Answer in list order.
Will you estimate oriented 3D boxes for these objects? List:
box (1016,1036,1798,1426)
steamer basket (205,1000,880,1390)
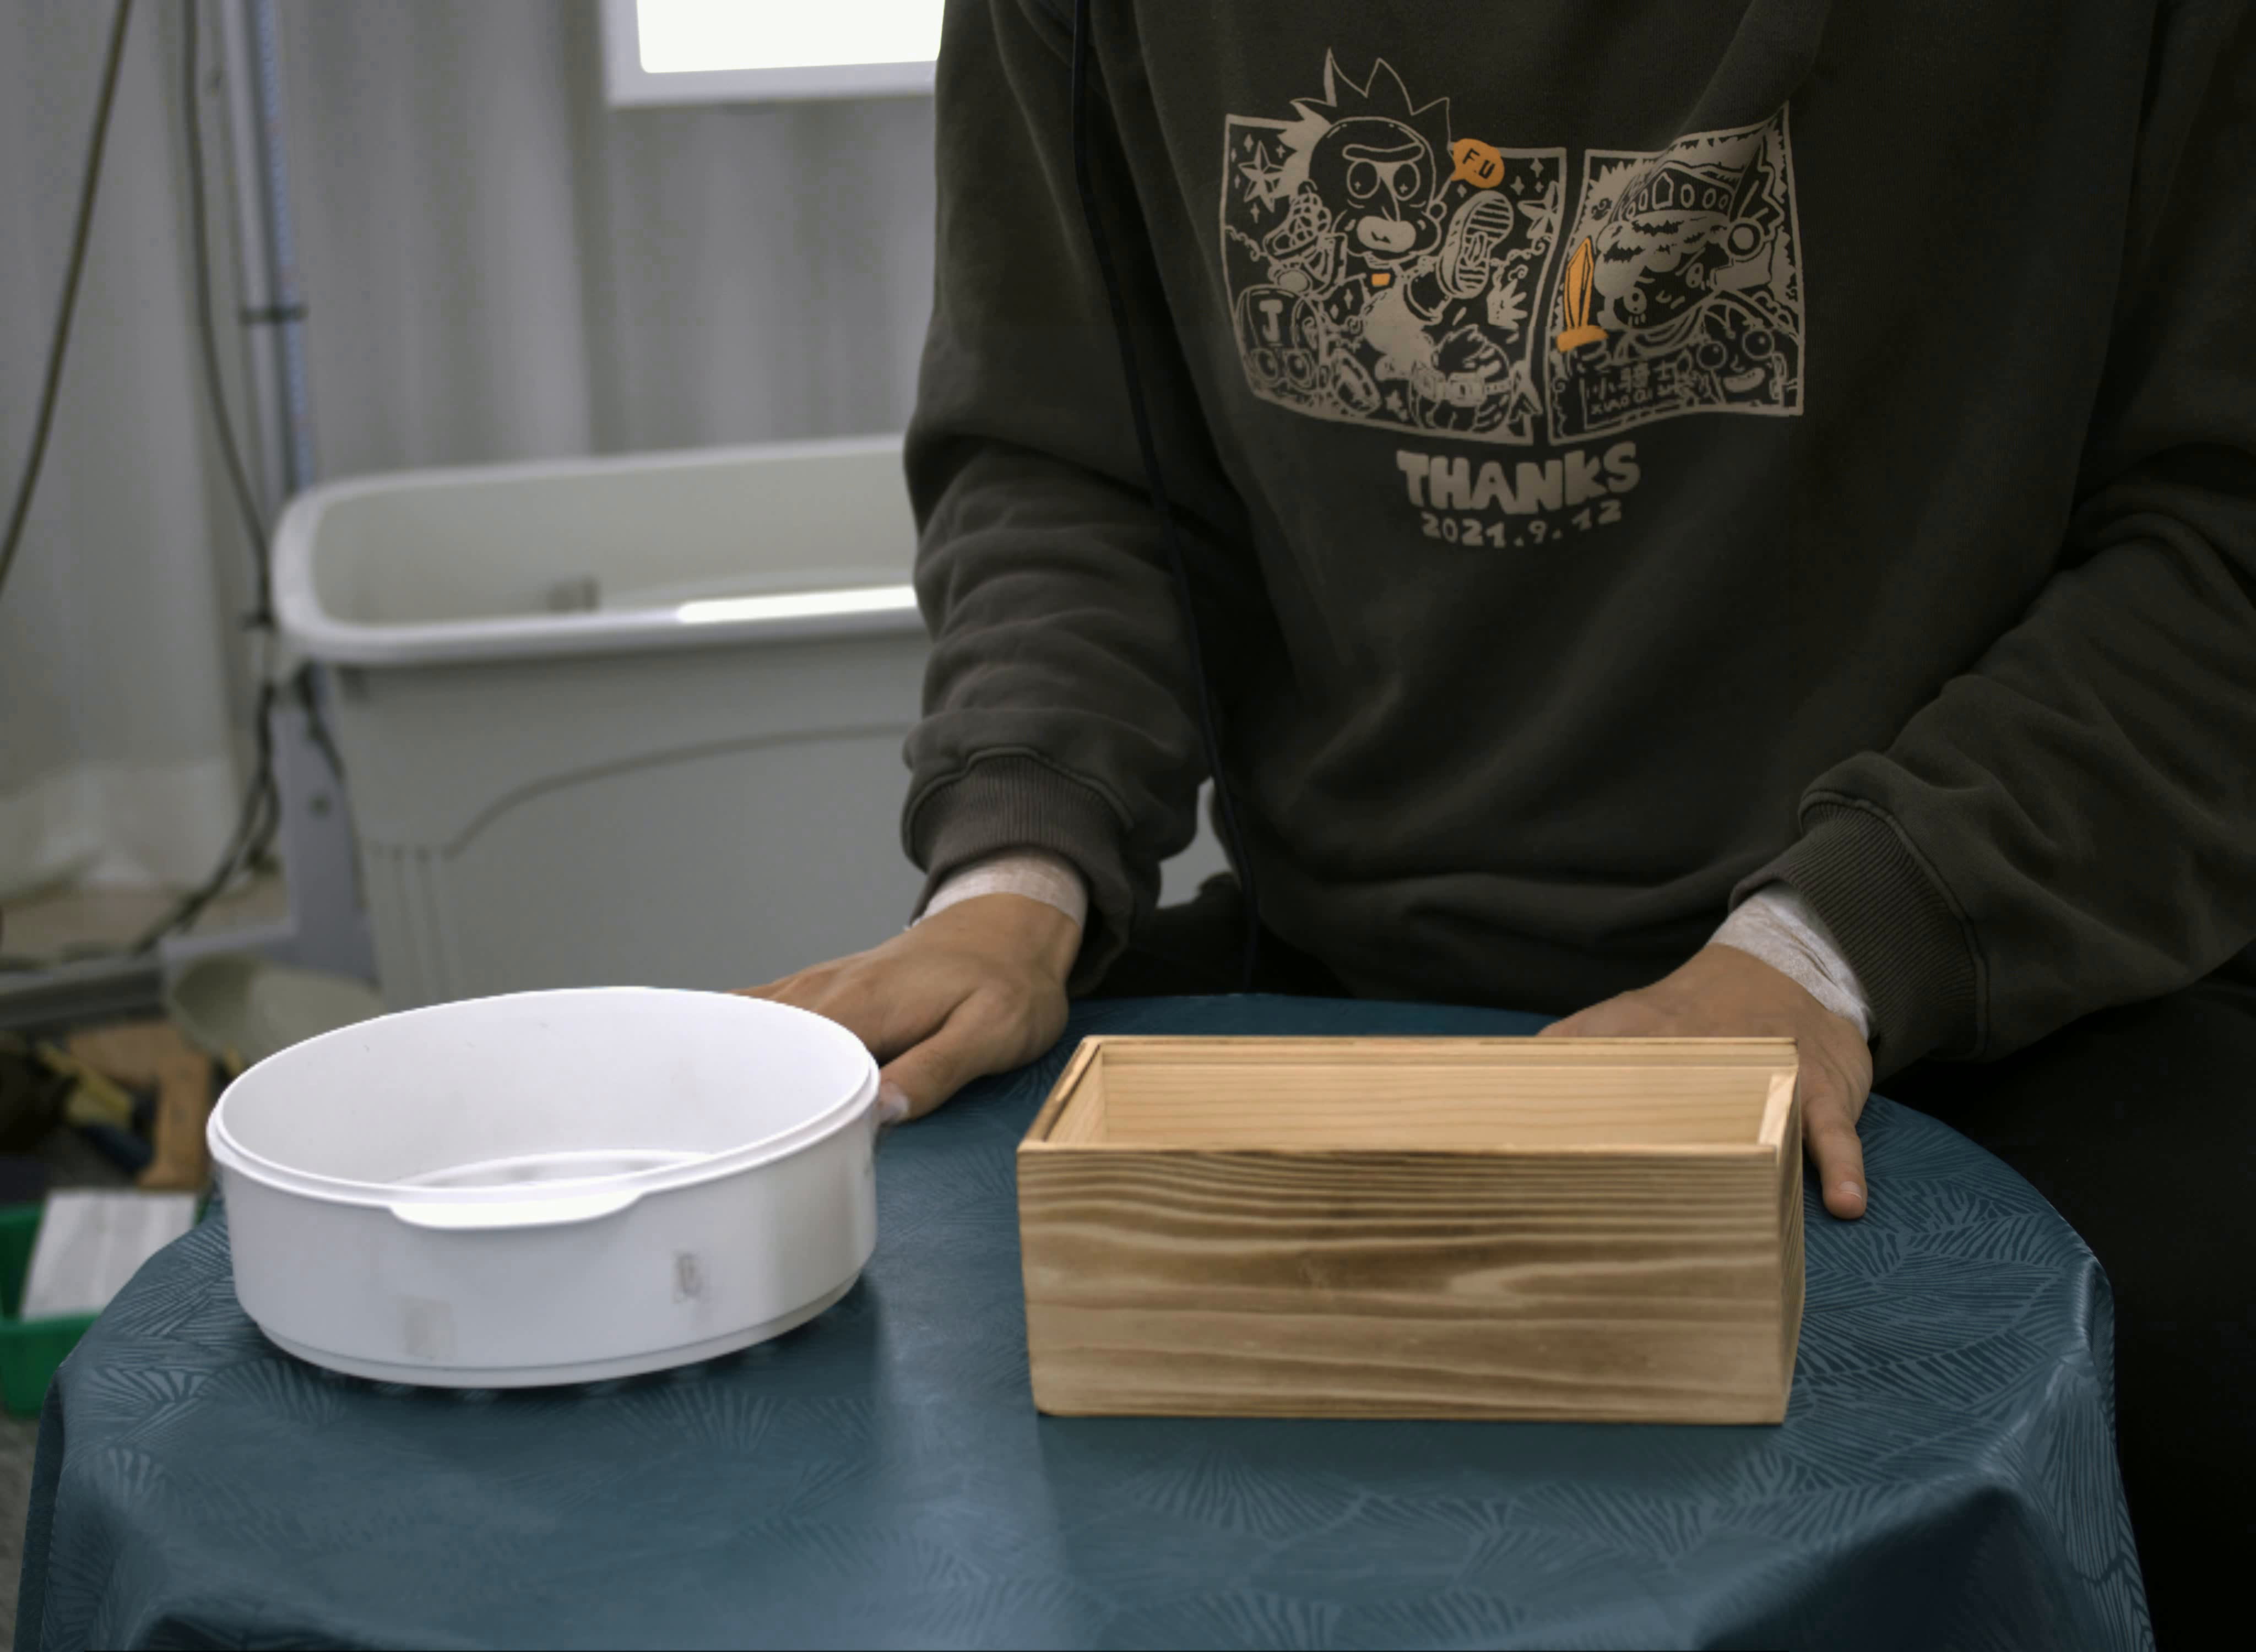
[{"bbox_3d":[0.082,0.114,1.556,0.211,0.080,0.108,0,14,10],"label":"box"},{"bbox_3d":[-0.174,0.110,1.644,0.201,0.069,0.232,-2,14,0],"label":"steamer basket"}]
